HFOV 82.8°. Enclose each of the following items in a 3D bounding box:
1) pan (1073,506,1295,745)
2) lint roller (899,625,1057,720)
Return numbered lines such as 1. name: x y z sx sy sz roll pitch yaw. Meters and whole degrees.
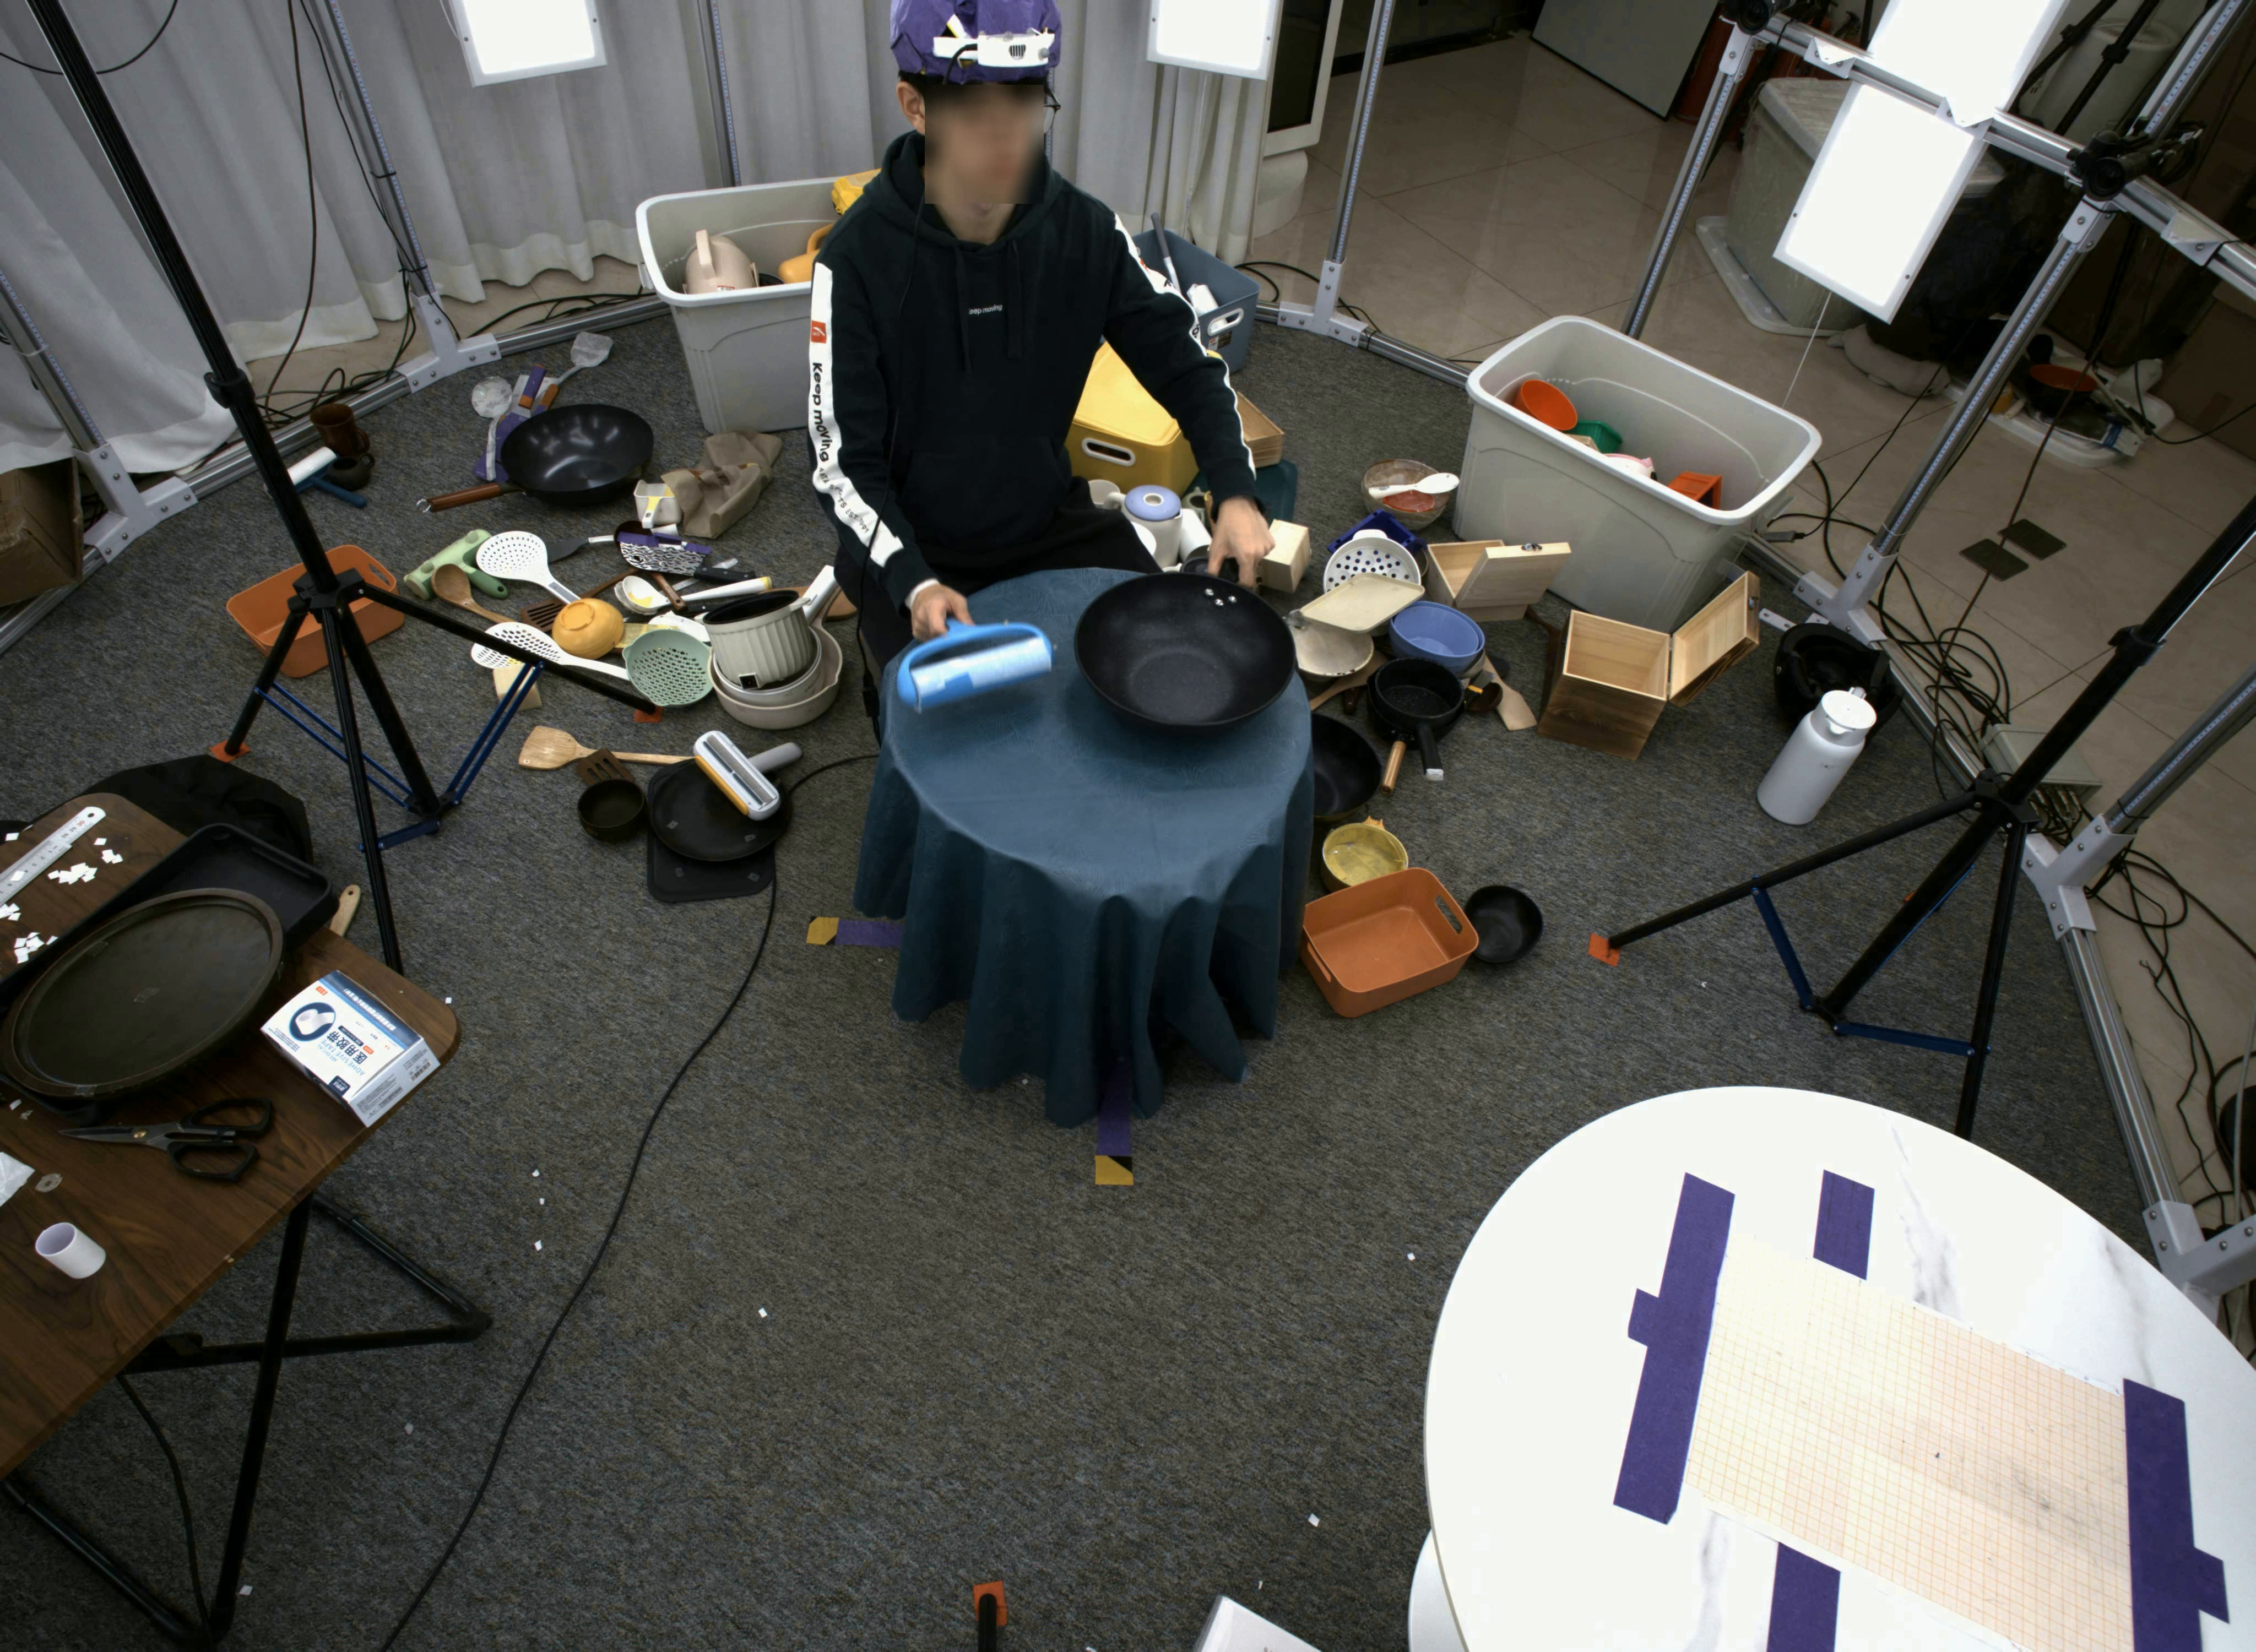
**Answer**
1. pan: 0.111 -0.285 1.852 0.312 0.109 0.486 21 52 12
2. lint roller: -0.231 -0.236 1.776 0.230 0.066 0.184 -23 53 -24
